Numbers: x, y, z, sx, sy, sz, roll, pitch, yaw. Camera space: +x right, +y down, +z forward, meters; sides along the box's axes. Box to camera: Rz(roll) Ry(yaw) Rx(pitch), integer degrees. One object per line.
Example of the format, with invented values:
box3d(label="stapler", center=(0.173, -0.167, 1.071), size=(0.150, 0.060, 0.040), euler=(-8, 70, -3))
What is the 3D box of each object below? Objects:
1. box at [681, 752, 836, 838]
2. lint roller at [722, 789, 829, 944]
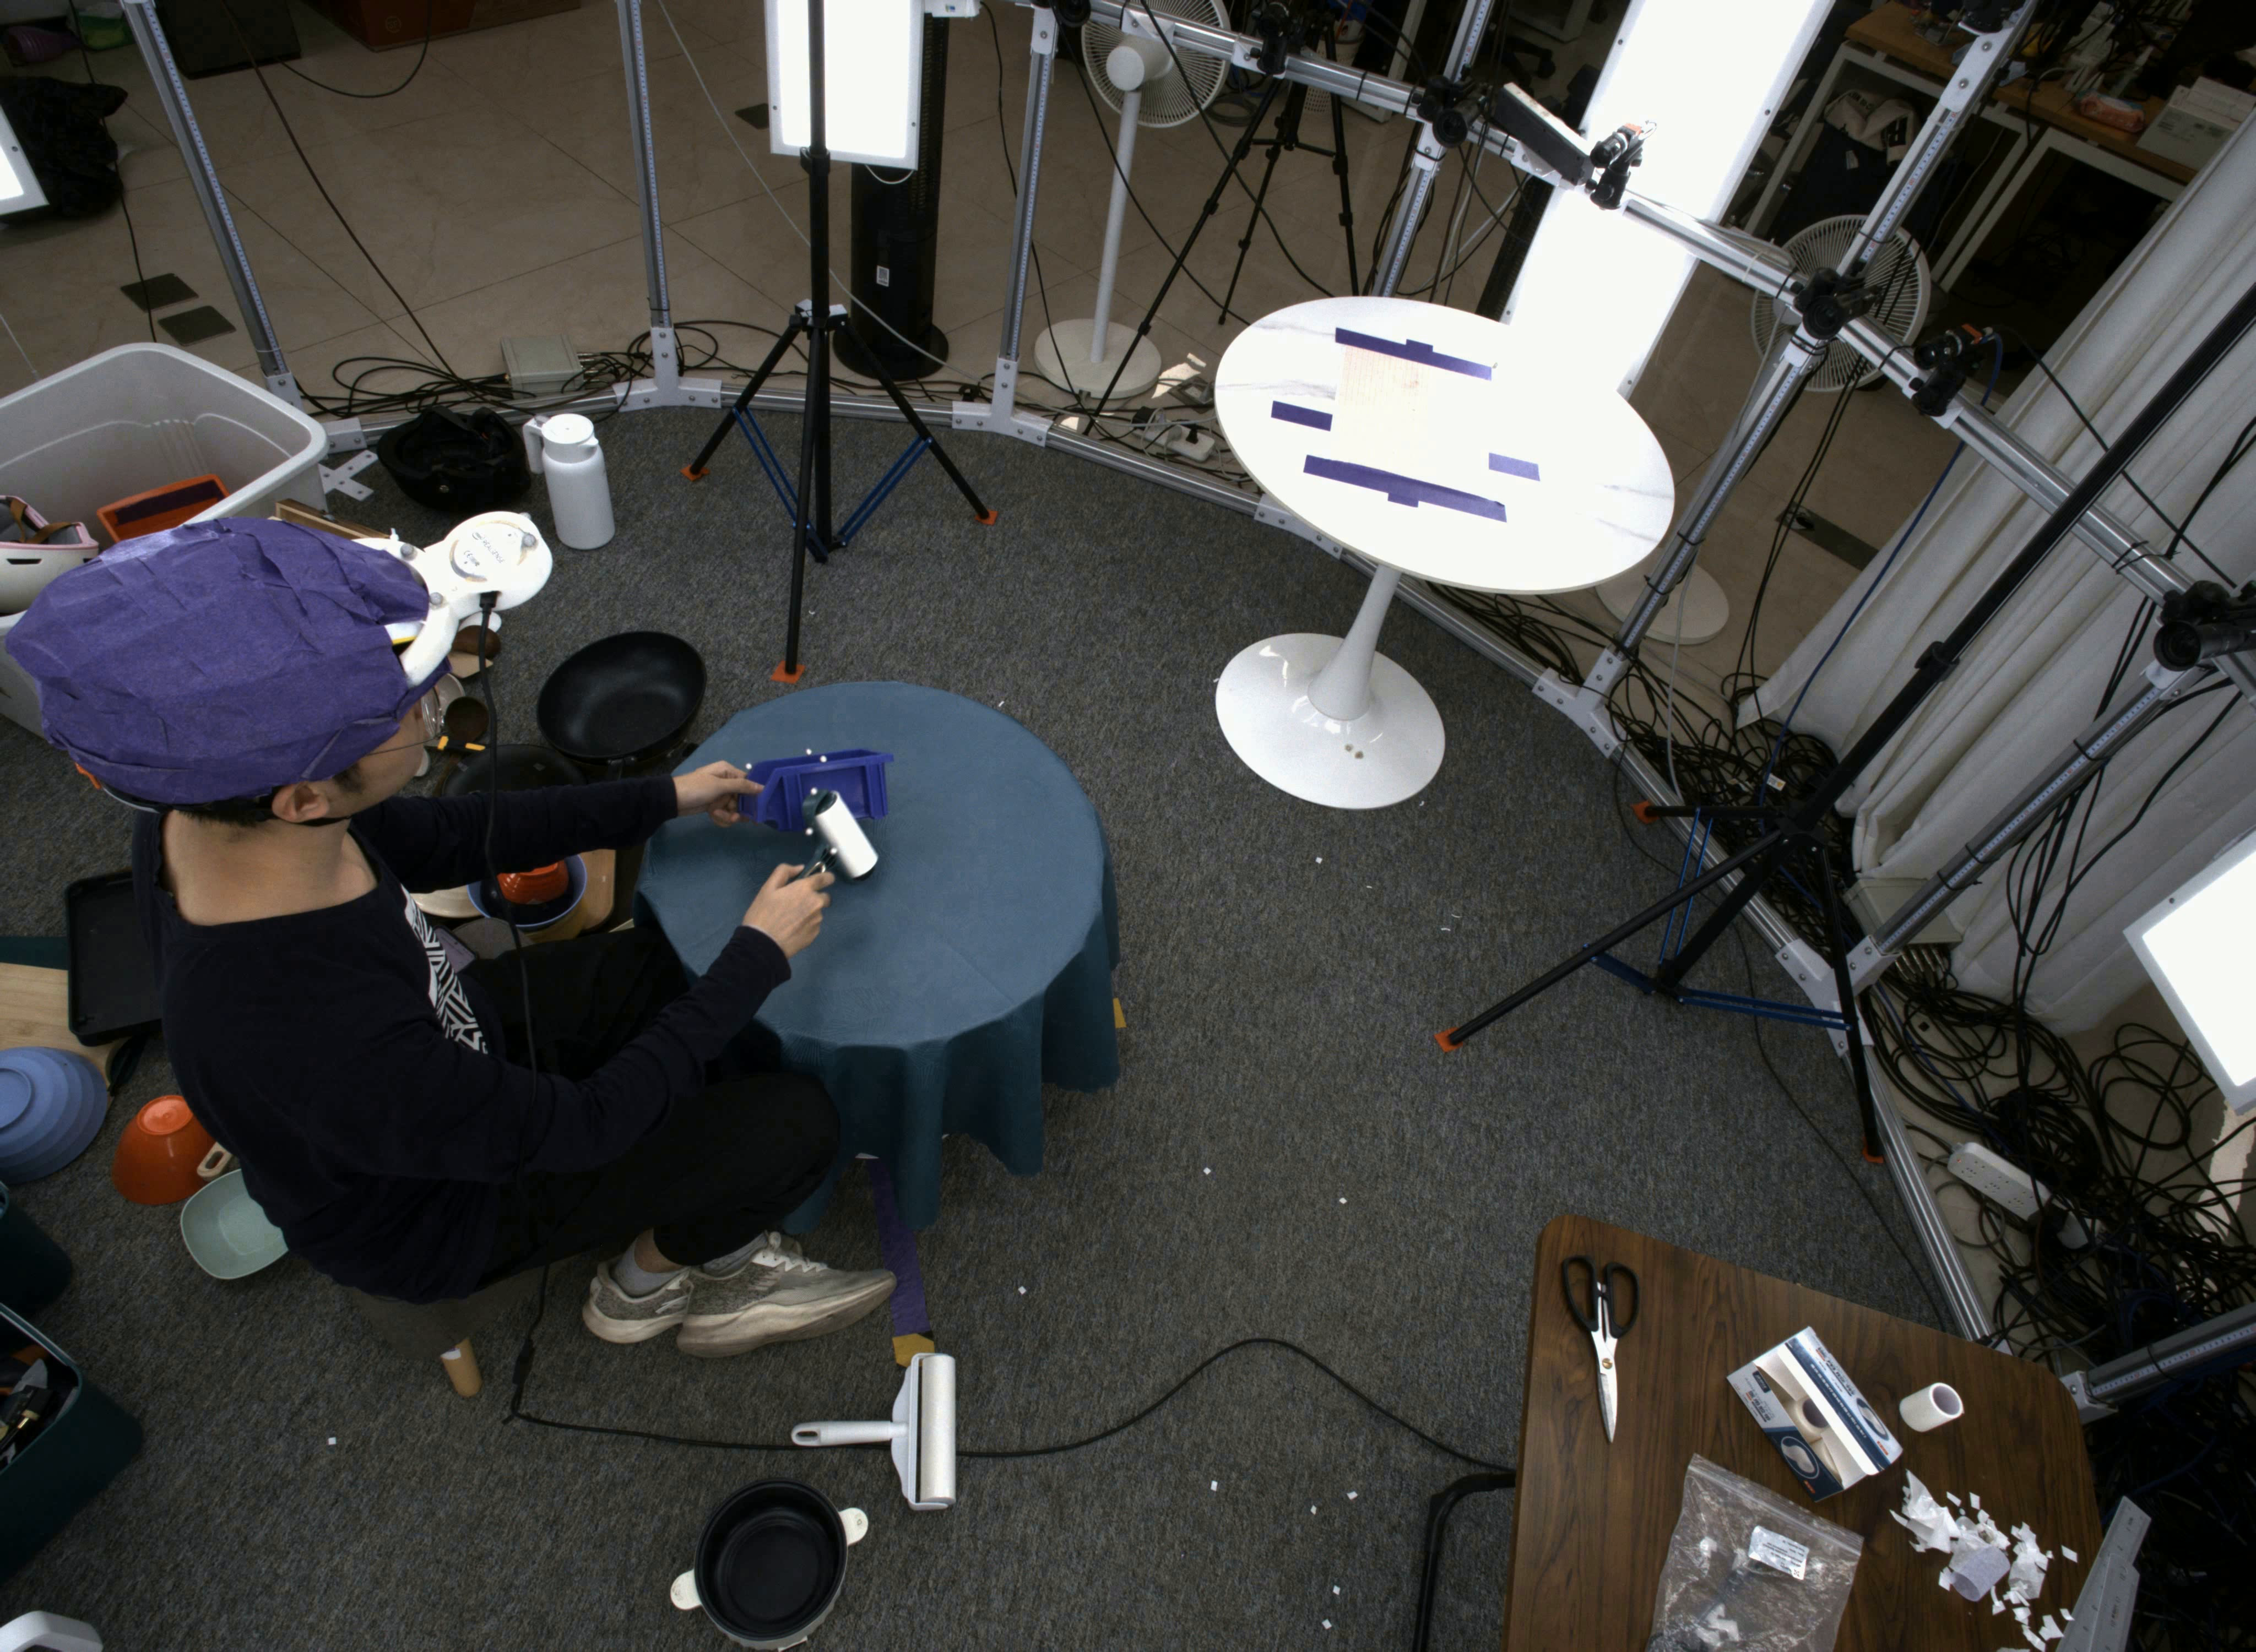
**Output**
box3d(label="box", center=(-0.467, -0.040, 1.629), size=(0.181, 0.084, 0.120), euler=(-9, 12, -29))
box3d(label="lint roller", center=(-0.419, 0.063, 1.513), size=(0.047, 0.139, 0.177), euler=(-9, 40, 22))
